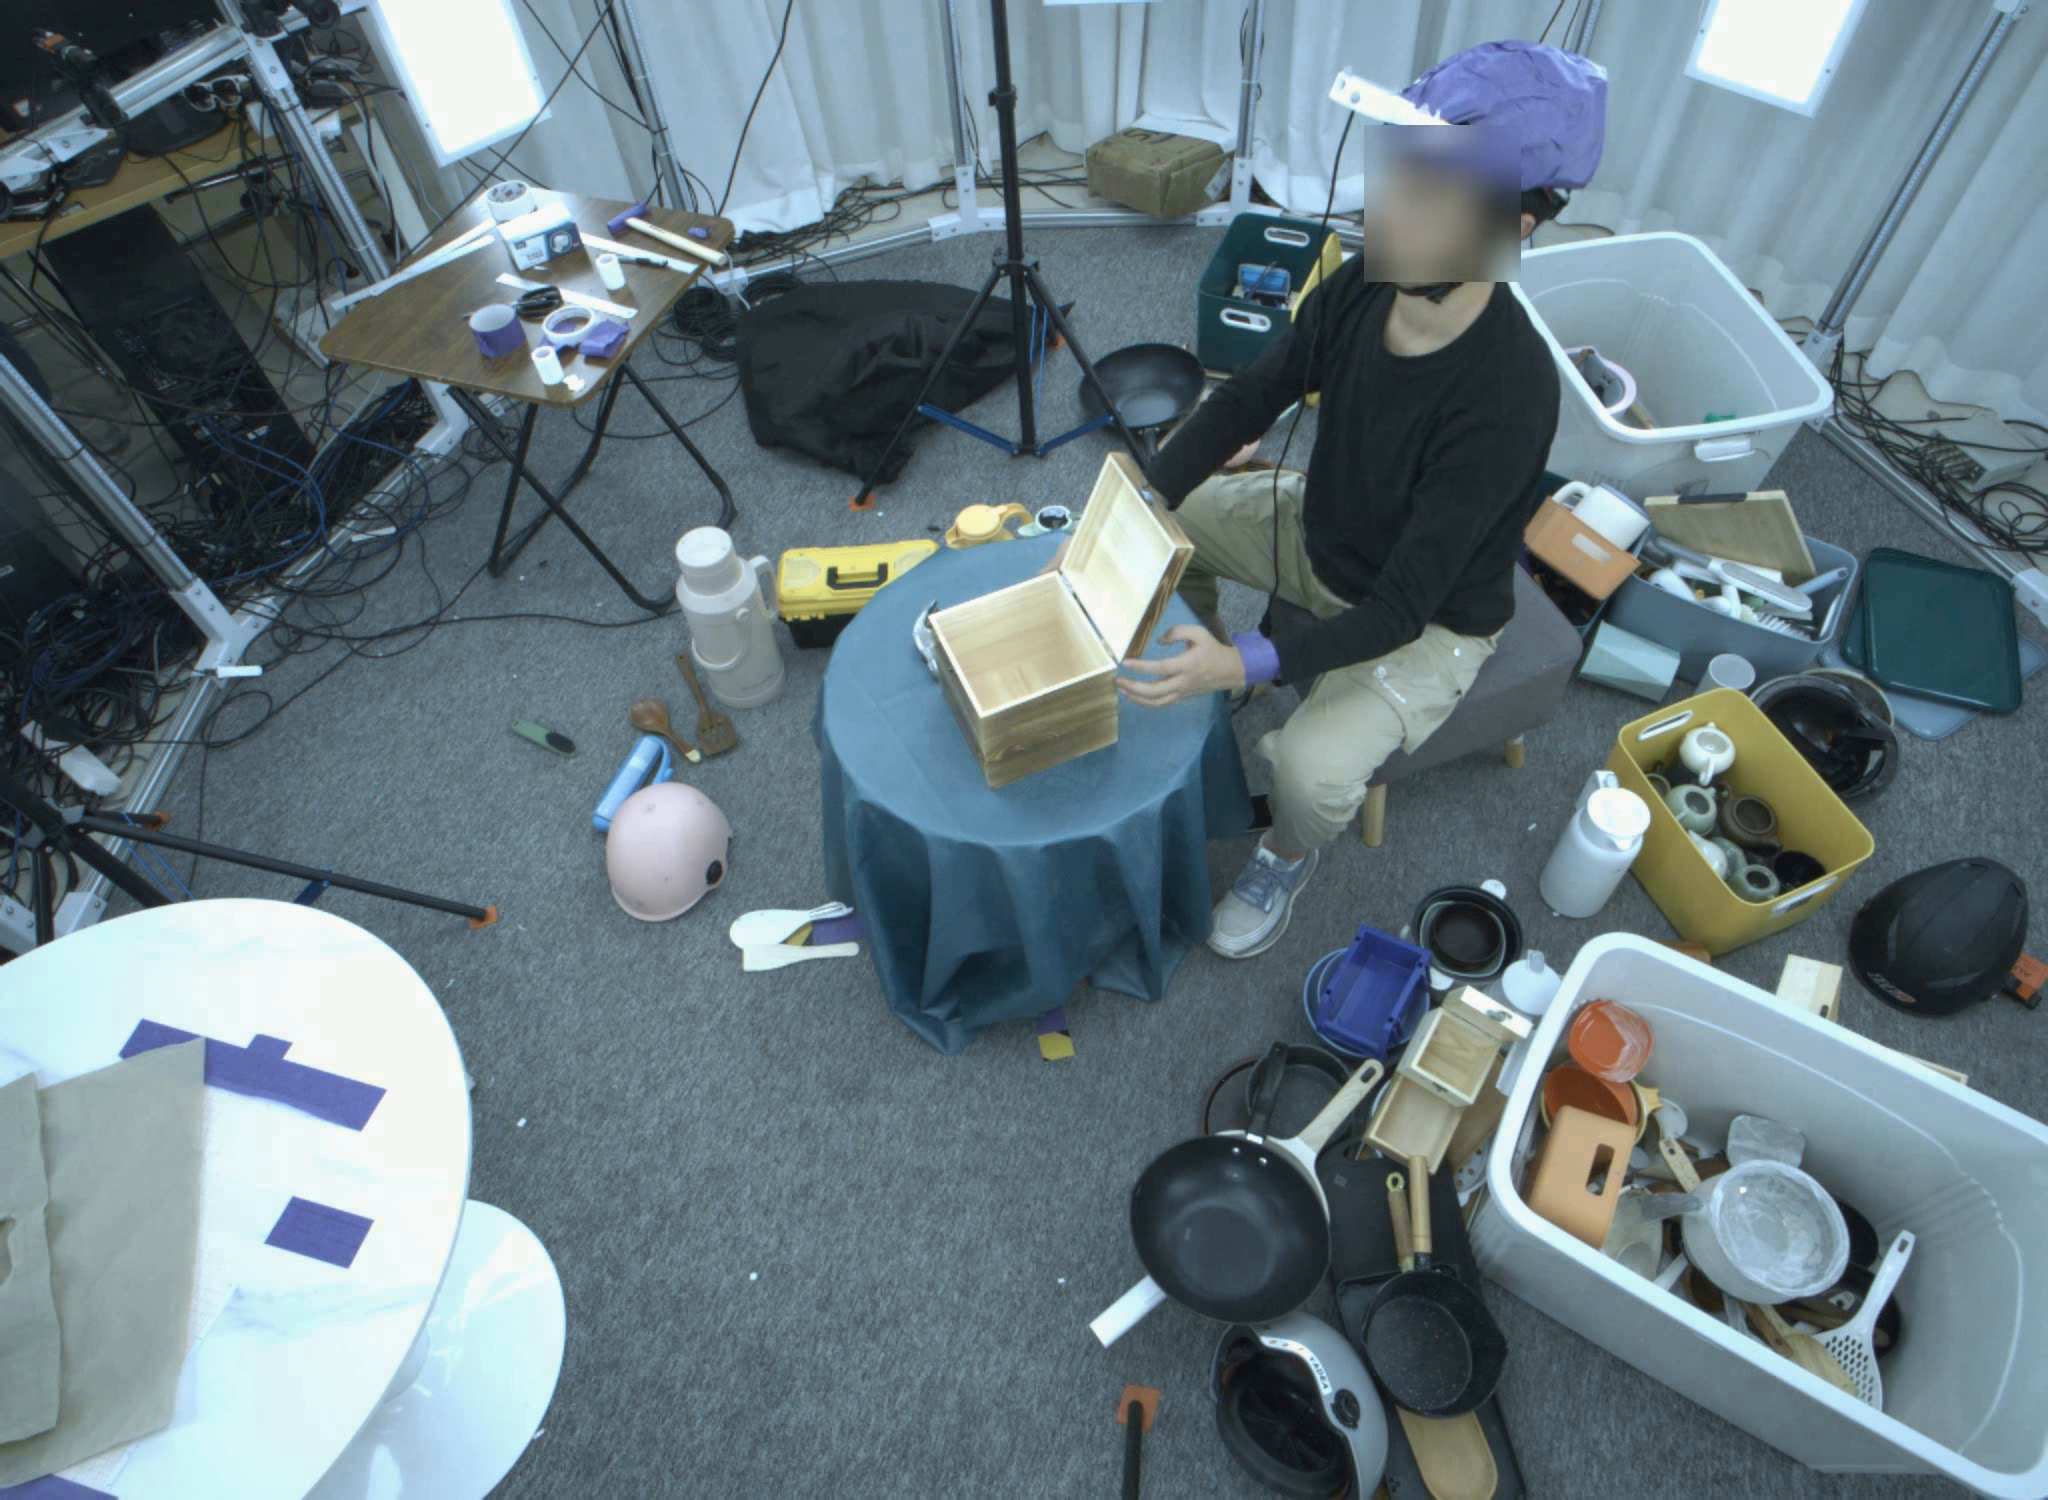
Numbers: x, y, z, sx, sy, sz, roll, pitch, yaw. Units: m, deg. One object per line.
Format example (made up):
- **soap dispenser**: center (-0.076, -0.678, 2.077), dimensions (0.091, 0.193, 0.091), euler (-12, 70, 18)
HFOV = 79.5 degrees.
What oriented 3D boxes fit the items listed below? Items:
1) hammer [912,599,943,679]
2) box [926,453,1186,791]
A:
- **hammer**: center (-0.011, -0.218, 1.916), dimensions (0.340, 0.032, 0.129), euler (-20, 56, -11)
- **box**: center (0.040, -0.175, 1.686), dimensions (0.324, 0.379, 0.205), euler (-21, 55, -12)
